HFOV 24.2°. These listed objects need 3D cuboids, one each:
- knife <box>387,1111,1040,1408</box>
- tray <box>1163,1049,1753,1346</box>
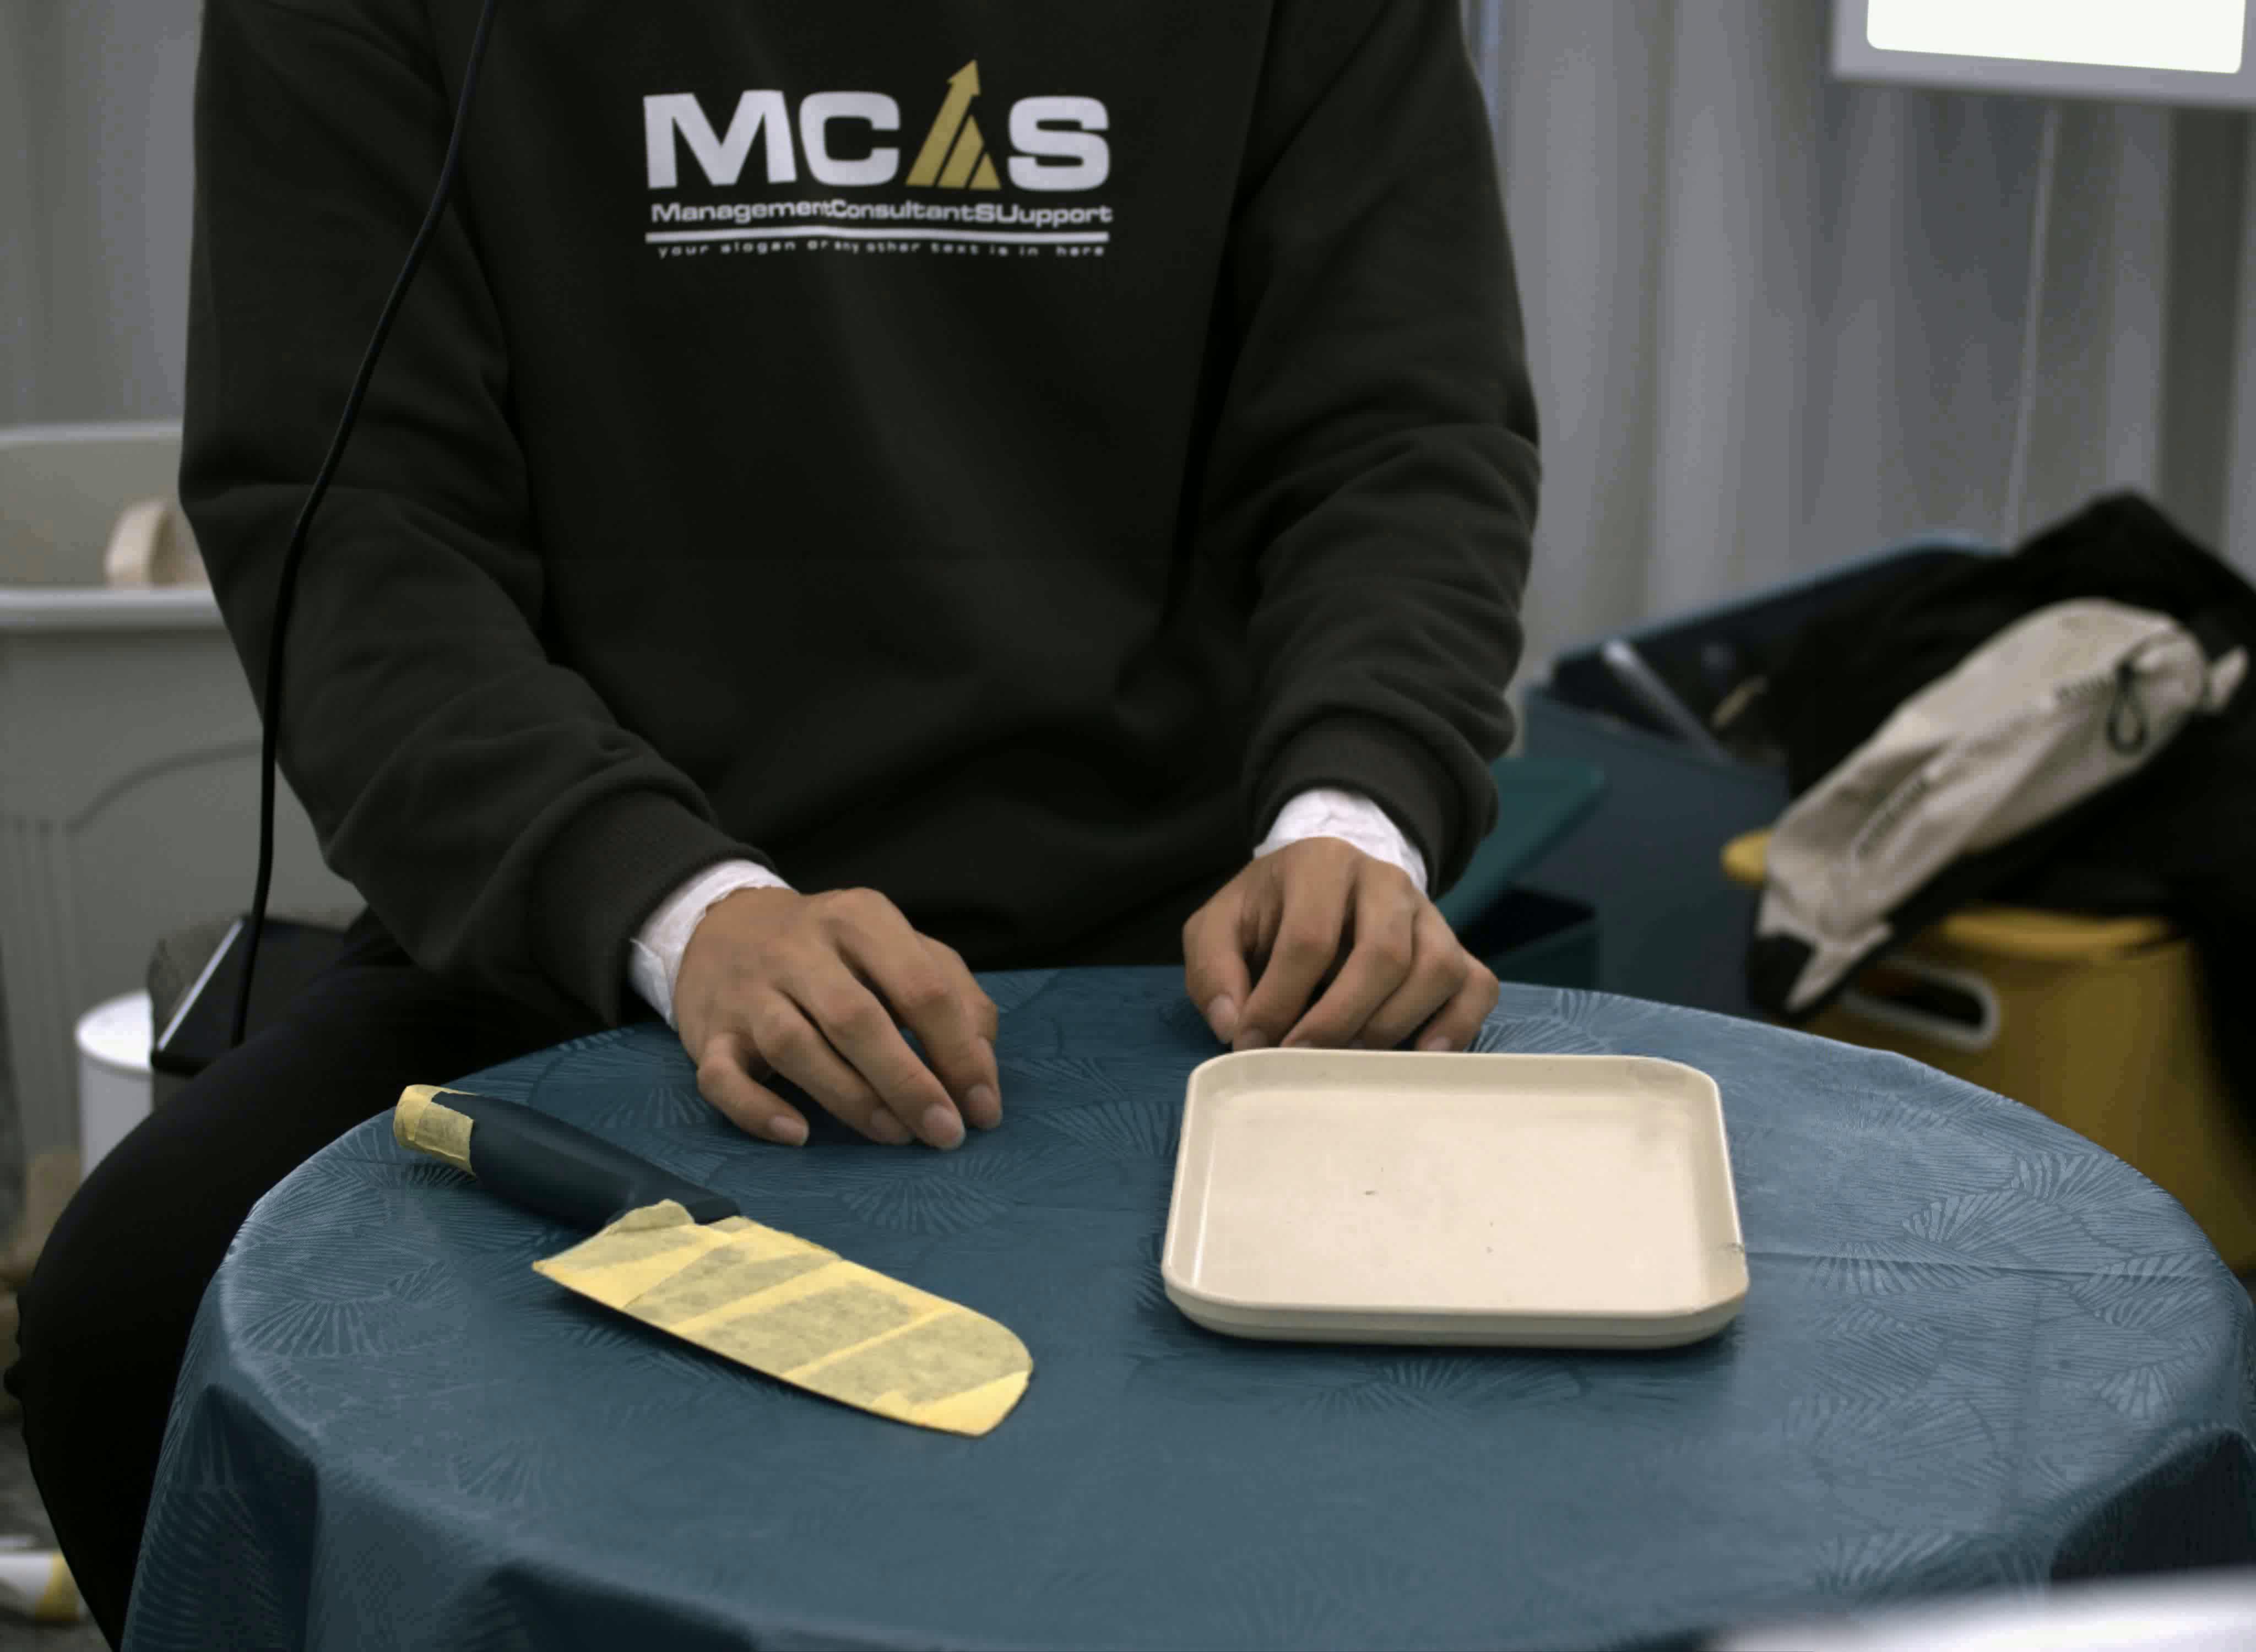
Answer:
[{"bbox_3d":[-0.132,0.128,1.536,0.081,0.027,0.285,-12,21,-44],"label":"knife"},{"bbox_3d":[0.099,0.112,1.598,0.170,0.017,0.238,1,15,3],"label":"tray"}]
